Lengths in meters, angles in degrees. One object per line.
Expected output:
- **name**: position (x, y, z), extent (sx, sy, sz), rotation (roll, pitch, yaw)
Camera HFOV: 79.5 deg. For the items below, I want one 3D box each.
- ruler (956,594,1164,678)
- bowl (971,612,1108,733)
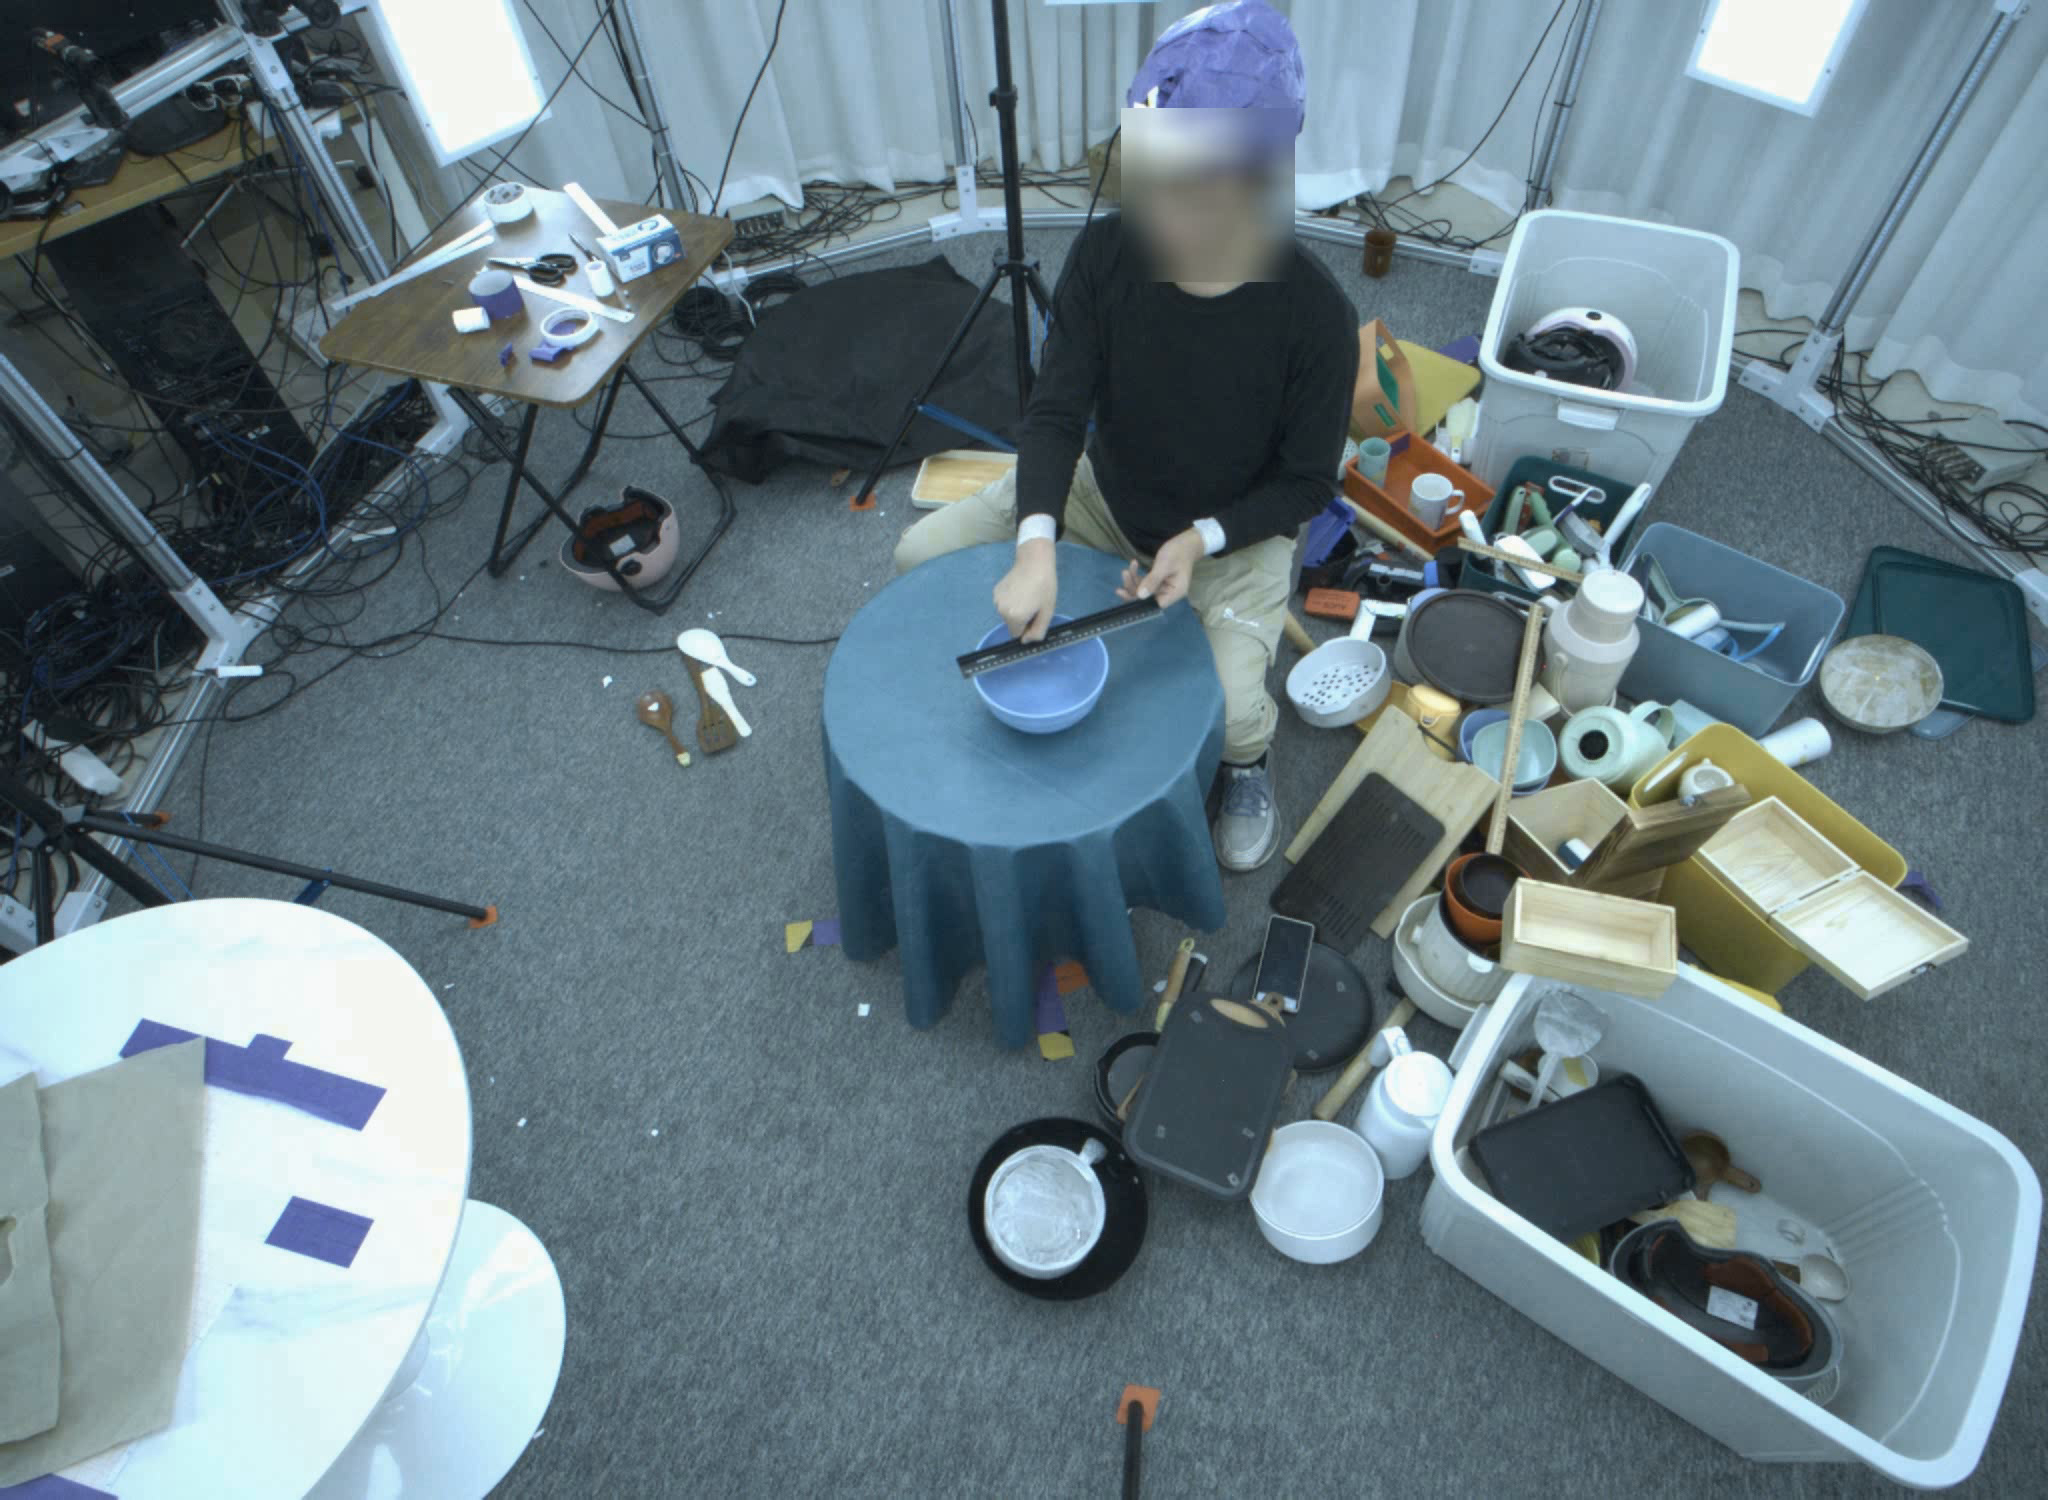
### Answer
- **ruler**: position (0.053, -0.167, 1.779), extent (0.314, 0.017, 0.038), rotation (-18, 63, -11)
- **bowl**: position (0.024, -0.098, 1.798), extent (0.196, 0.096, 0.194), rotation (-1, 55, 2)
